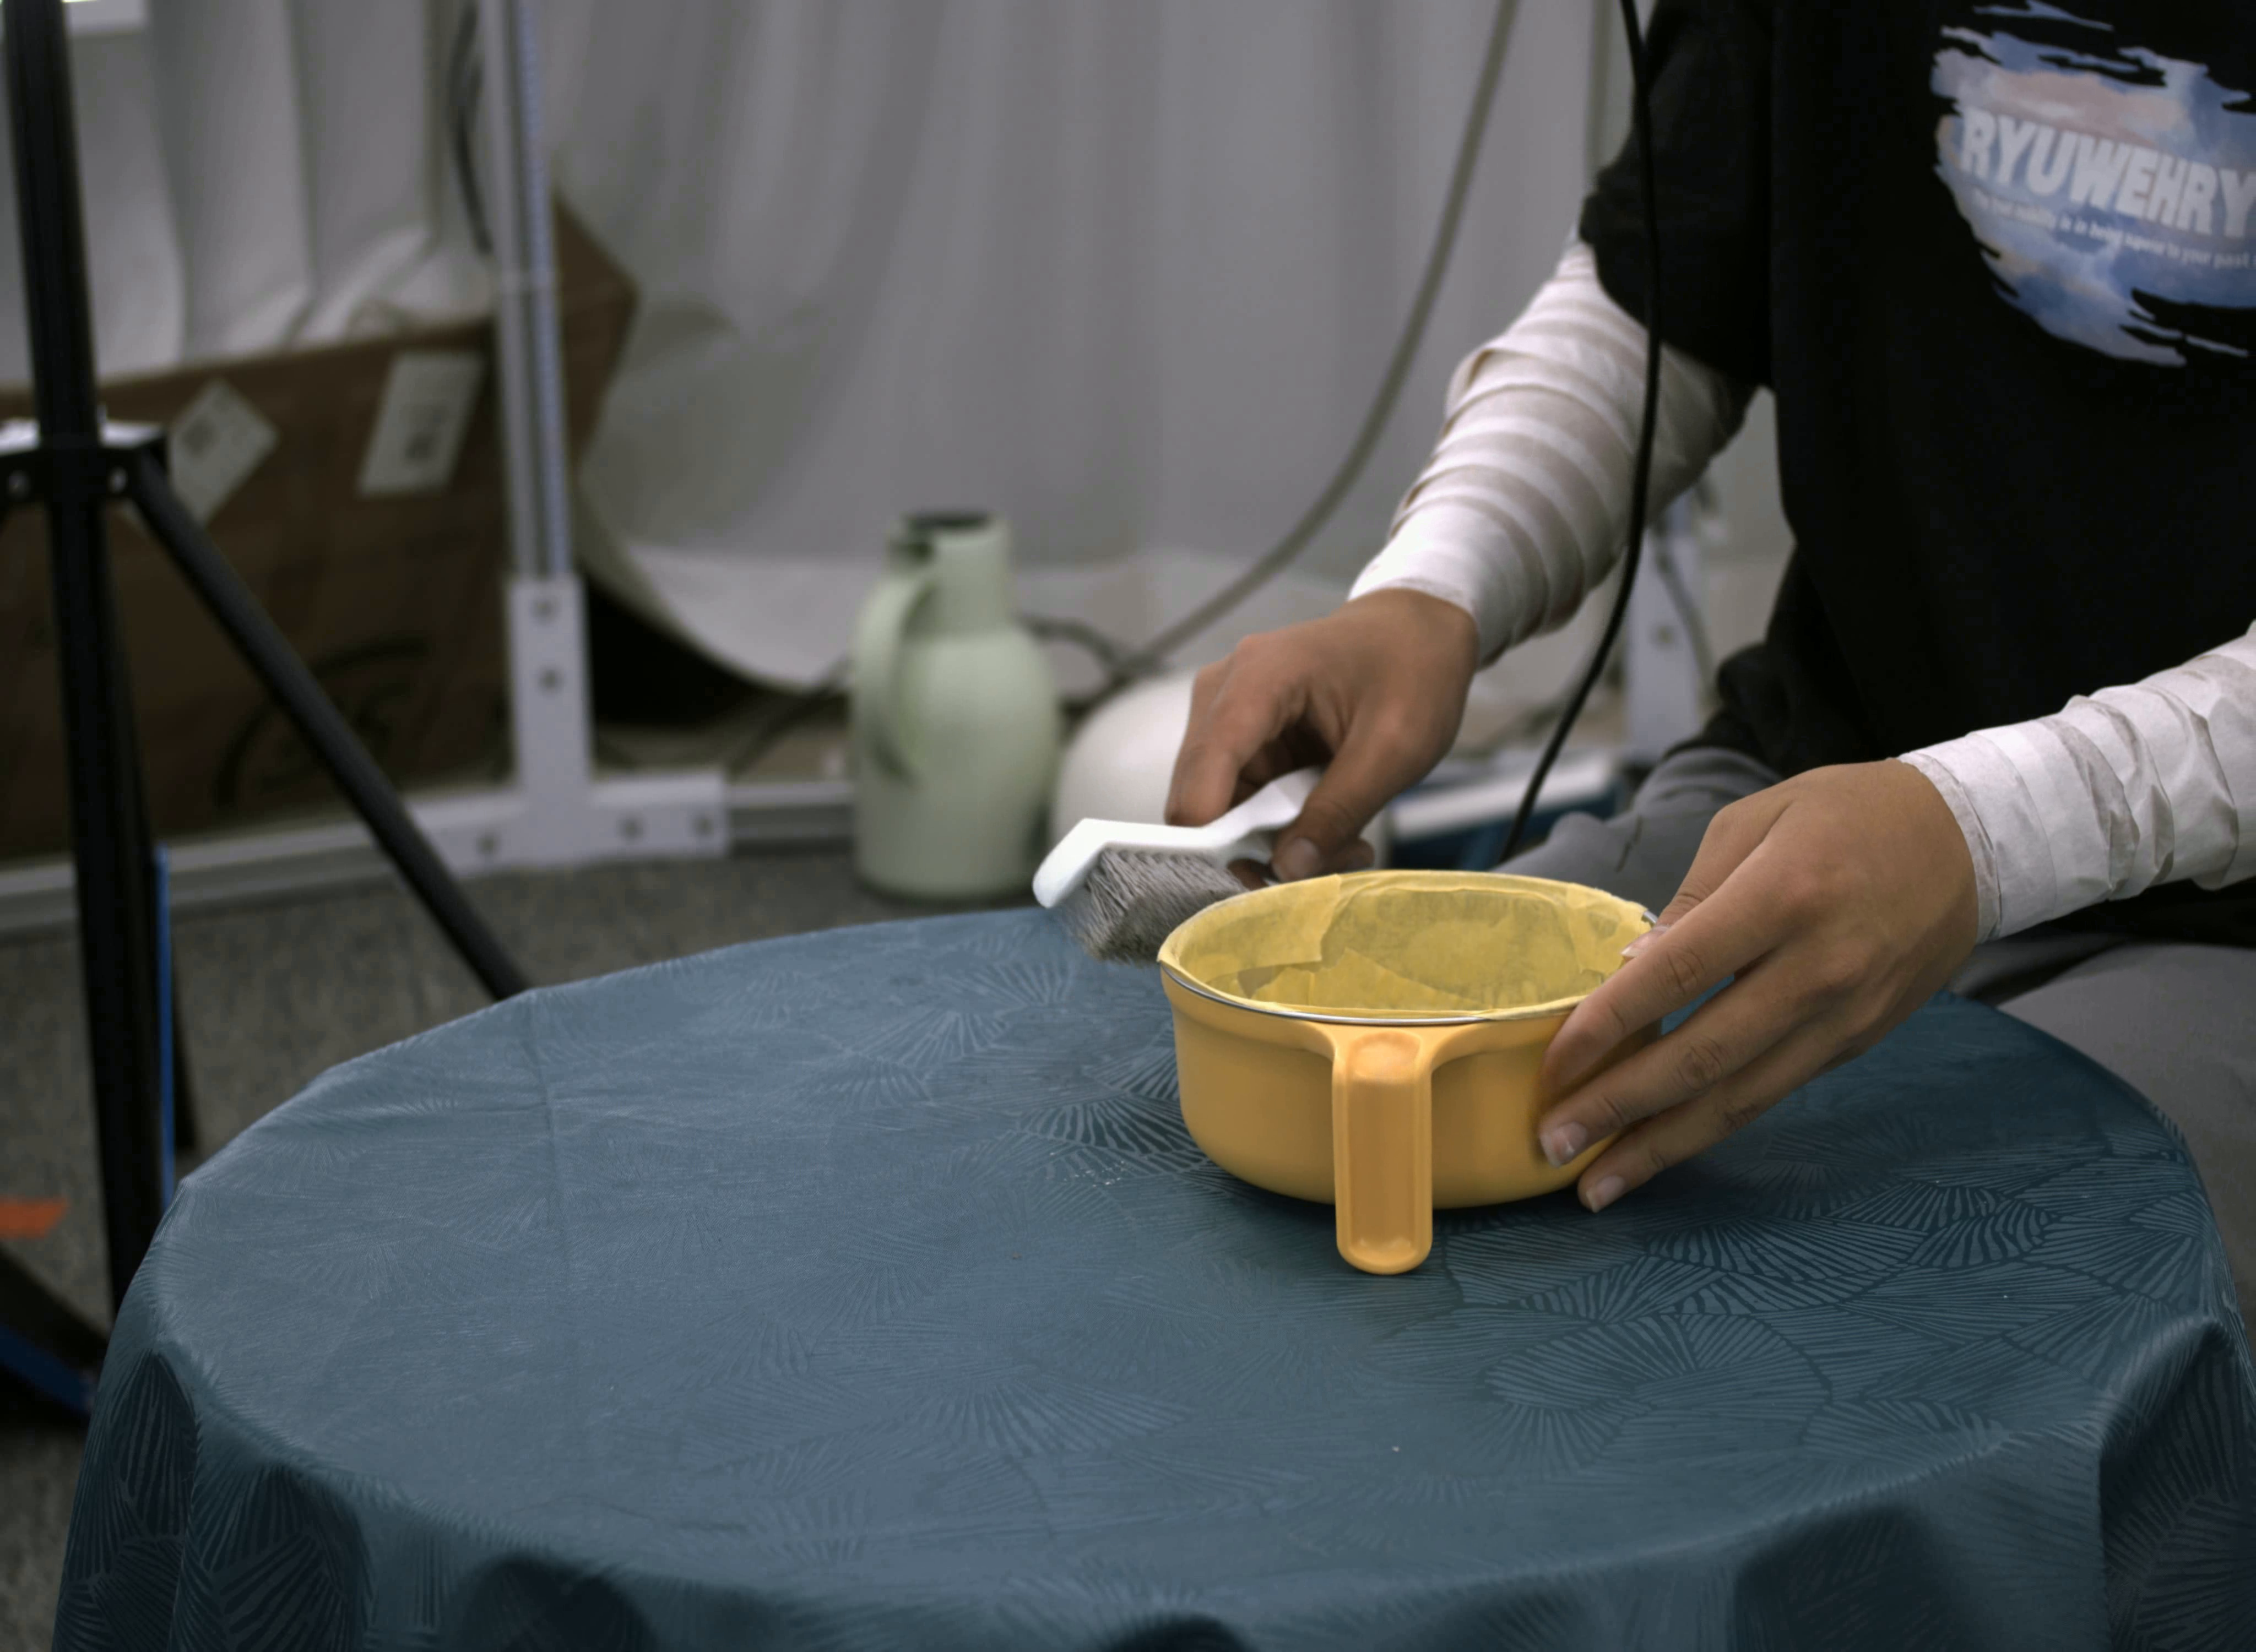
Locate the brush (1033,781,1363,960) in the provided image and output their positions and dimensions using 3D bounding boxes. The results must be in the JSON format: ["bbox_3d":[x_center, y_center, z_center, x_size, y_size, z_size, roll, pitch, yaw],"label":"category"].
[{"bbox_3d":[0.040,0.013,1.717,0.051,0.034,0.239,38,18,18],"label":"brush"}]

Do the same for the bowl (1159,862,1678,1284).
[{"bbox_3d":[0.083,0.069,1.559,0.153,0.074,0.179,4,17,6],"label":"bowl"}]
